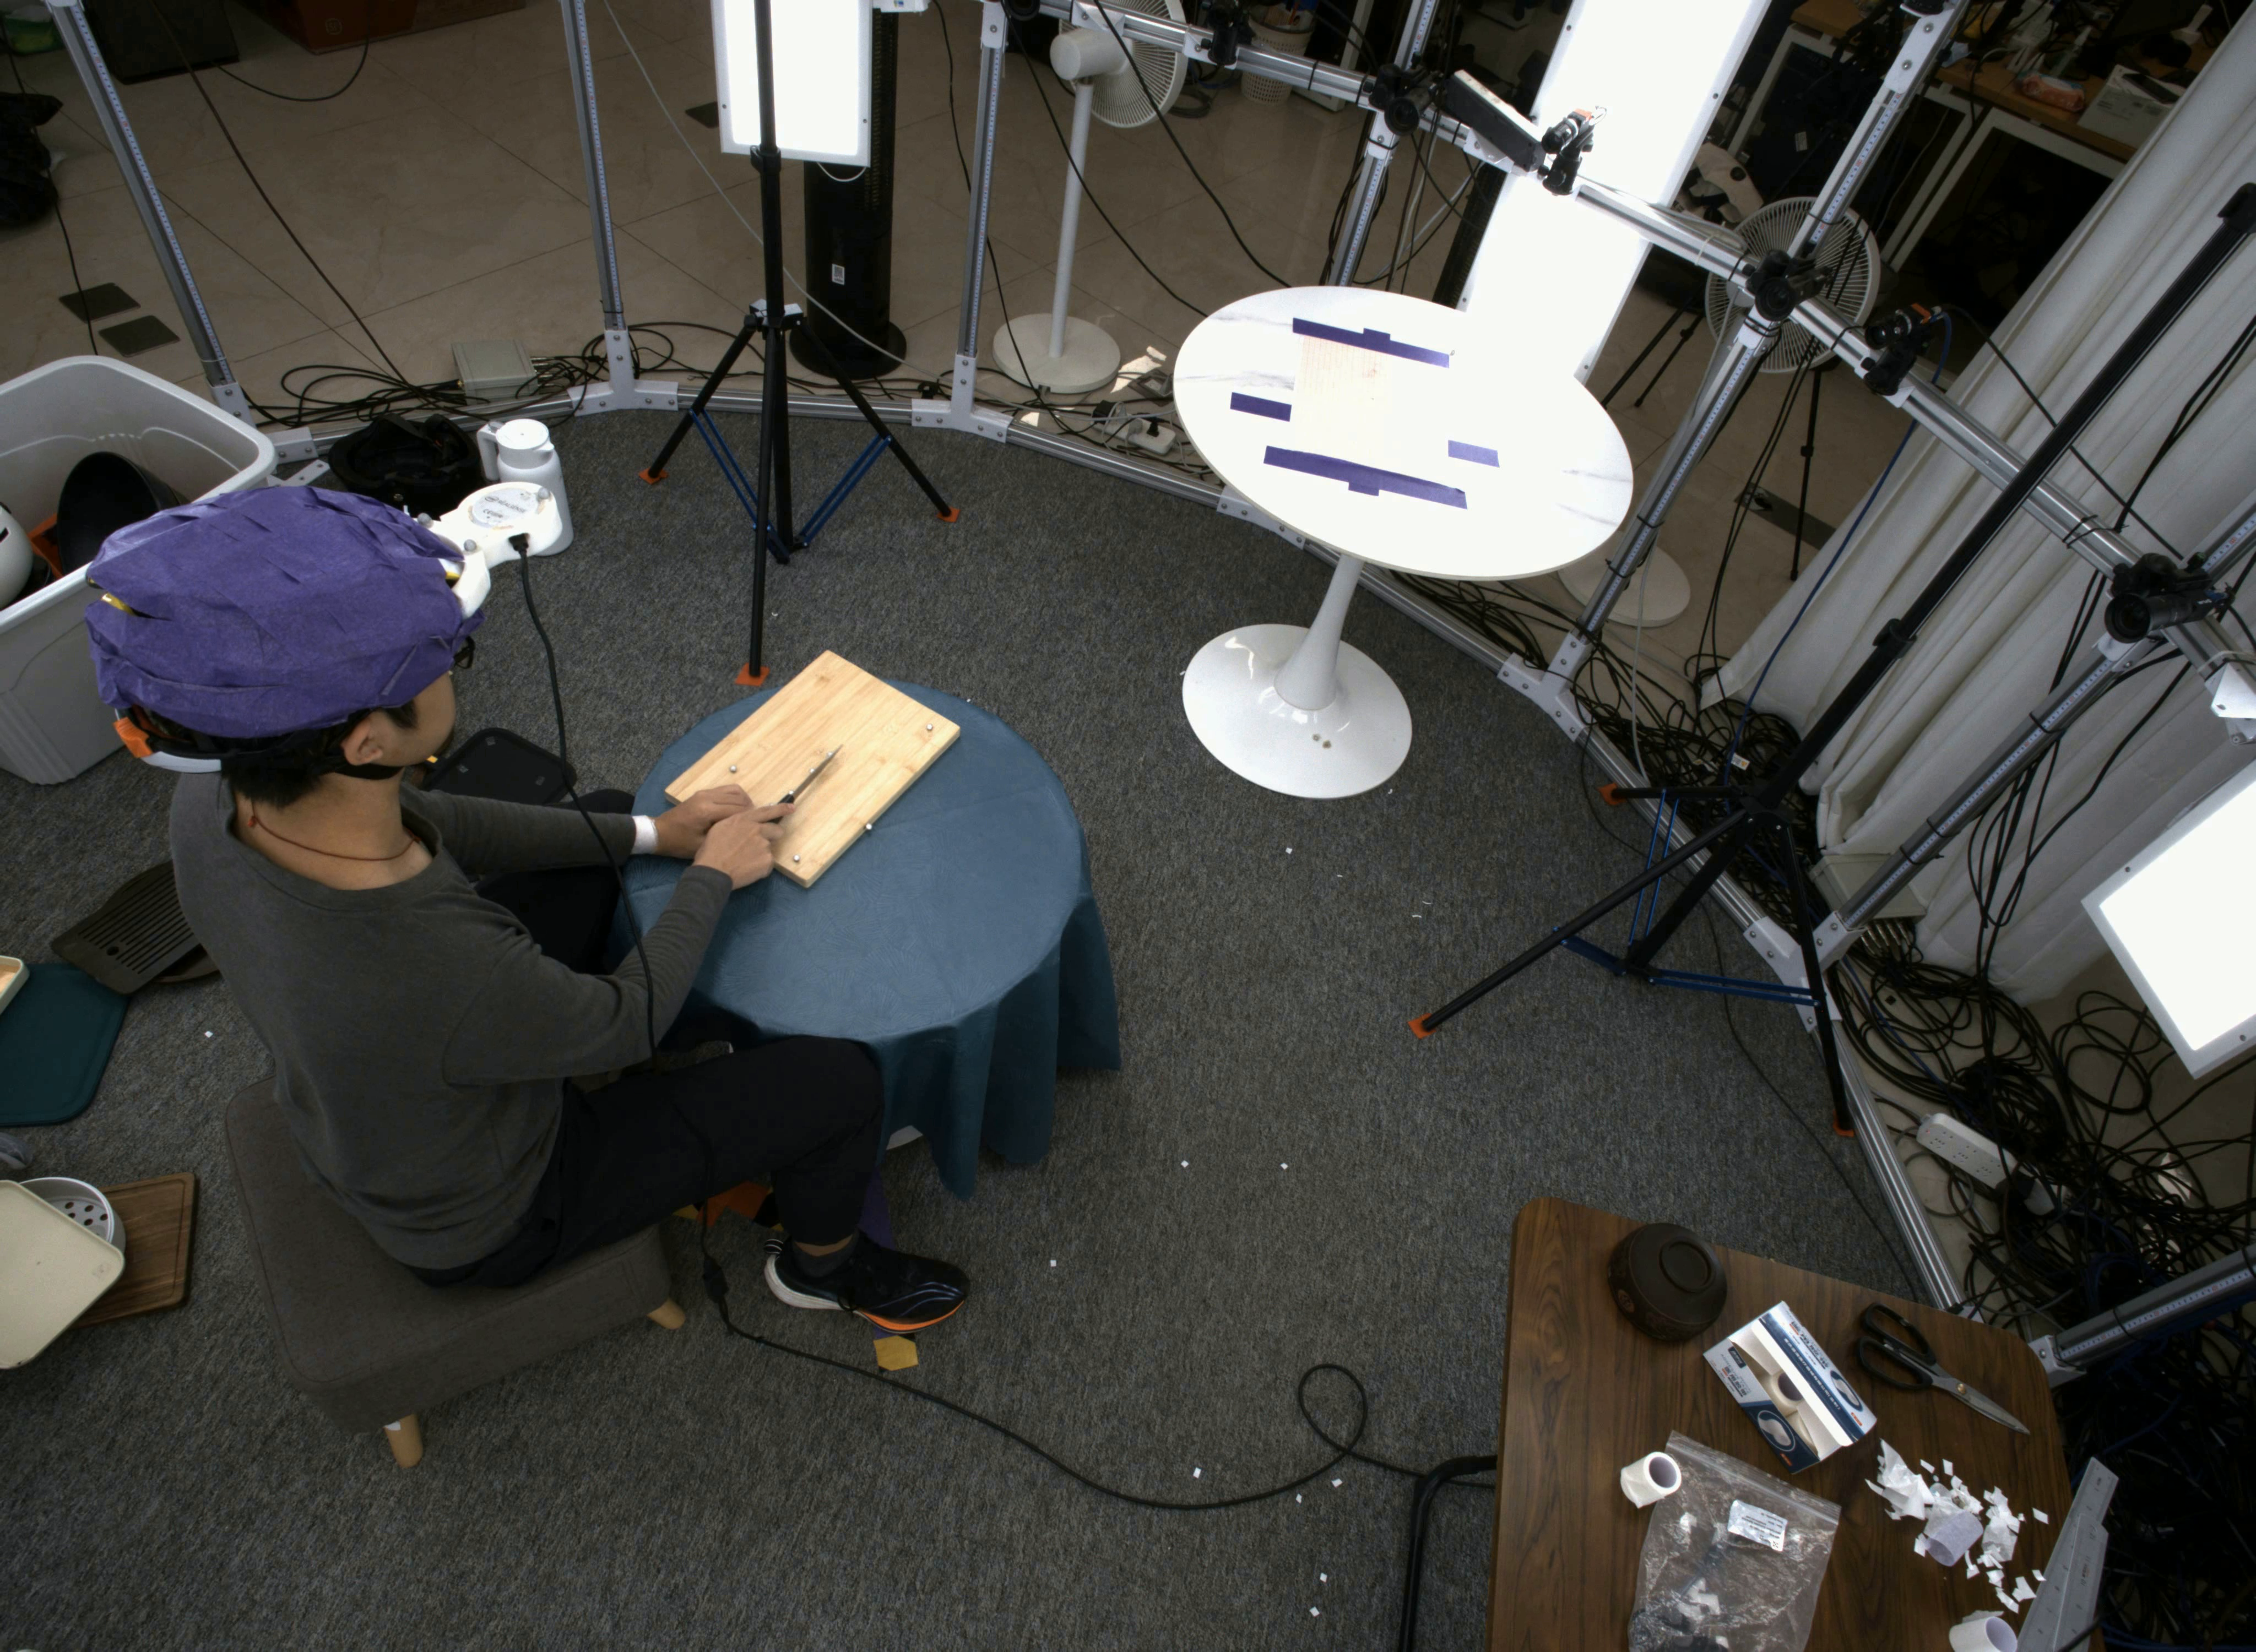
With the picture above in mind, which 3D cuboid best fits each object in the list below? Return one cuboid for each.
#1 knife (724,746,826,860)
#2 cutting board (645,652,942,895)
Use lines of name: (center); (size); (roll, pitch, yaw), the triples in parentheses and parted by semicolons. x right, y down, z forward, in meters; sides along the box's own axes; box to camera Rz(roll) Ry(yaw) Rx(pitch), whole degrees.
knife: (-0.460, -0.039, 1.706); (0.016, 0.025, 0.236); (28, 46, 3)
cutting board: (-0.451, -0.083, 1.780); (0.246, 0.024, 0.347); (29, 53, 9)
